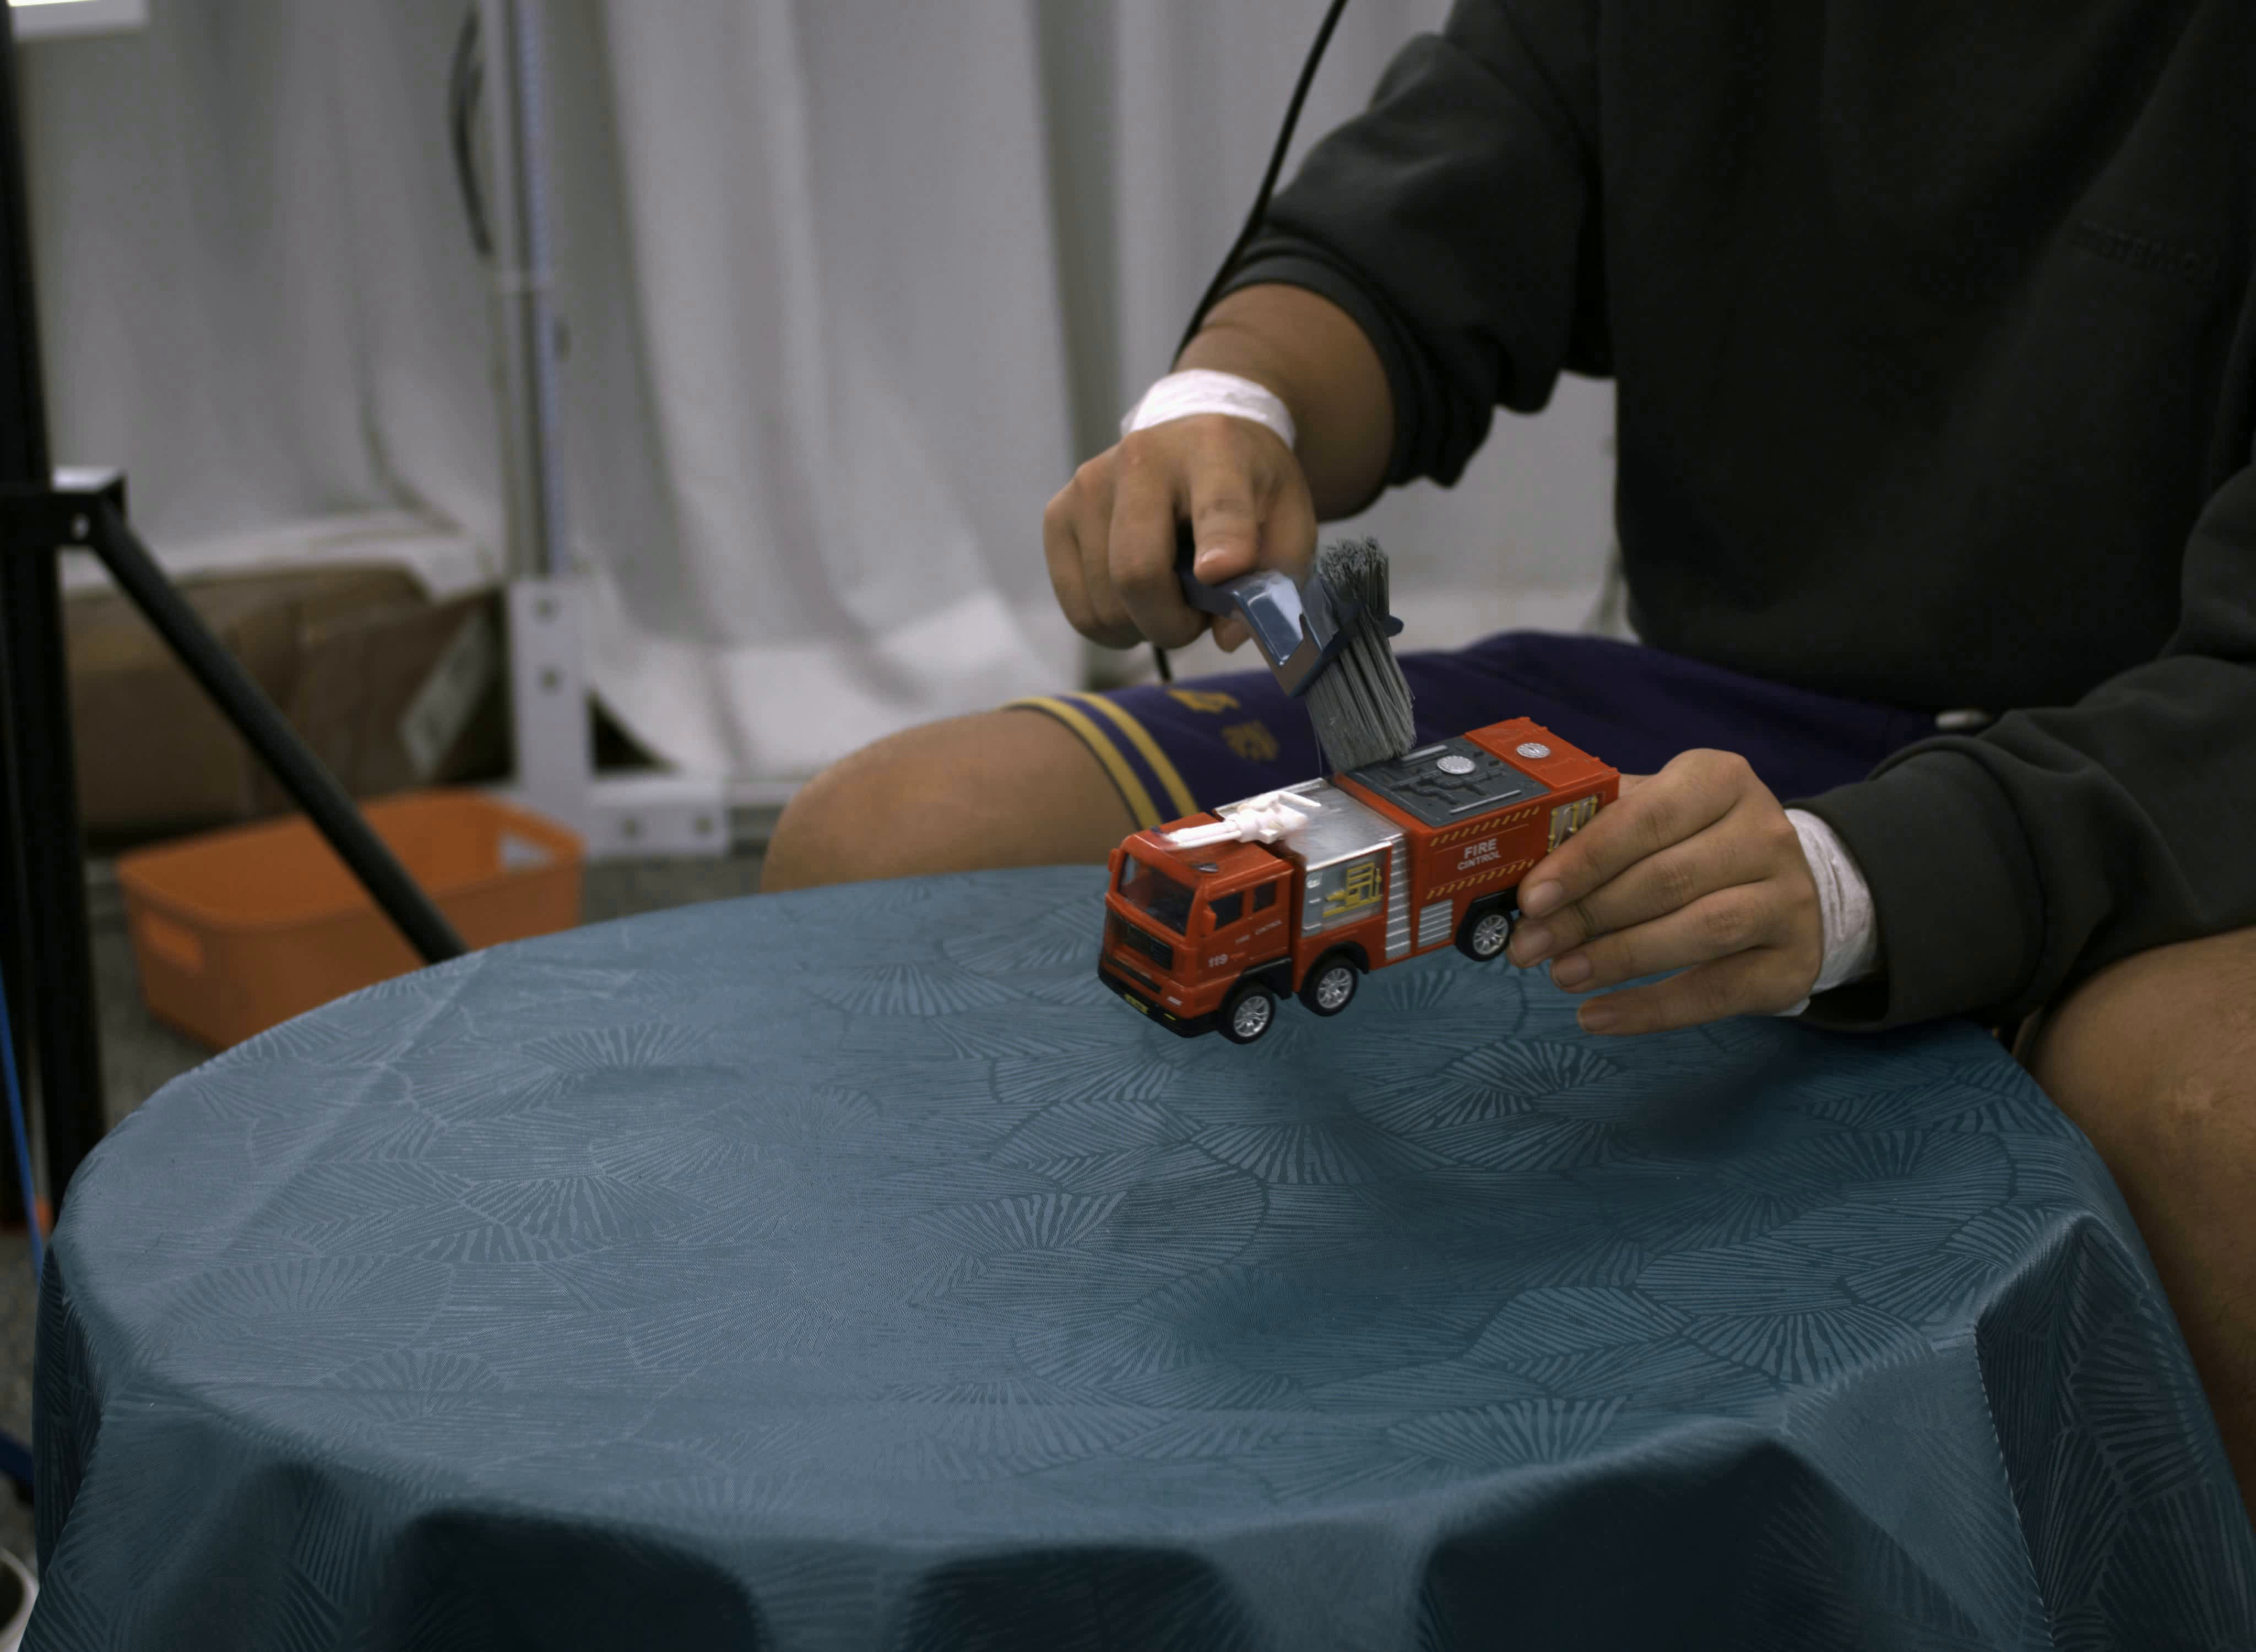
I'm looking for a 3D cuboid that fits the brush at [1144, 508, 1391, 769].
[{"bbox_3d":[0.040,-0.078,1.652,0.033,0.095,0.277,-24,18,-7],"label":"brush"}]

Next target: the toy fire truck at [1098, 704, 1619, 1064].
[{"bbox_3d":[0.067,0.014,1.525,0.164,0.070,0.055,-16,32,-33],"label":"toy fire truck"}]
